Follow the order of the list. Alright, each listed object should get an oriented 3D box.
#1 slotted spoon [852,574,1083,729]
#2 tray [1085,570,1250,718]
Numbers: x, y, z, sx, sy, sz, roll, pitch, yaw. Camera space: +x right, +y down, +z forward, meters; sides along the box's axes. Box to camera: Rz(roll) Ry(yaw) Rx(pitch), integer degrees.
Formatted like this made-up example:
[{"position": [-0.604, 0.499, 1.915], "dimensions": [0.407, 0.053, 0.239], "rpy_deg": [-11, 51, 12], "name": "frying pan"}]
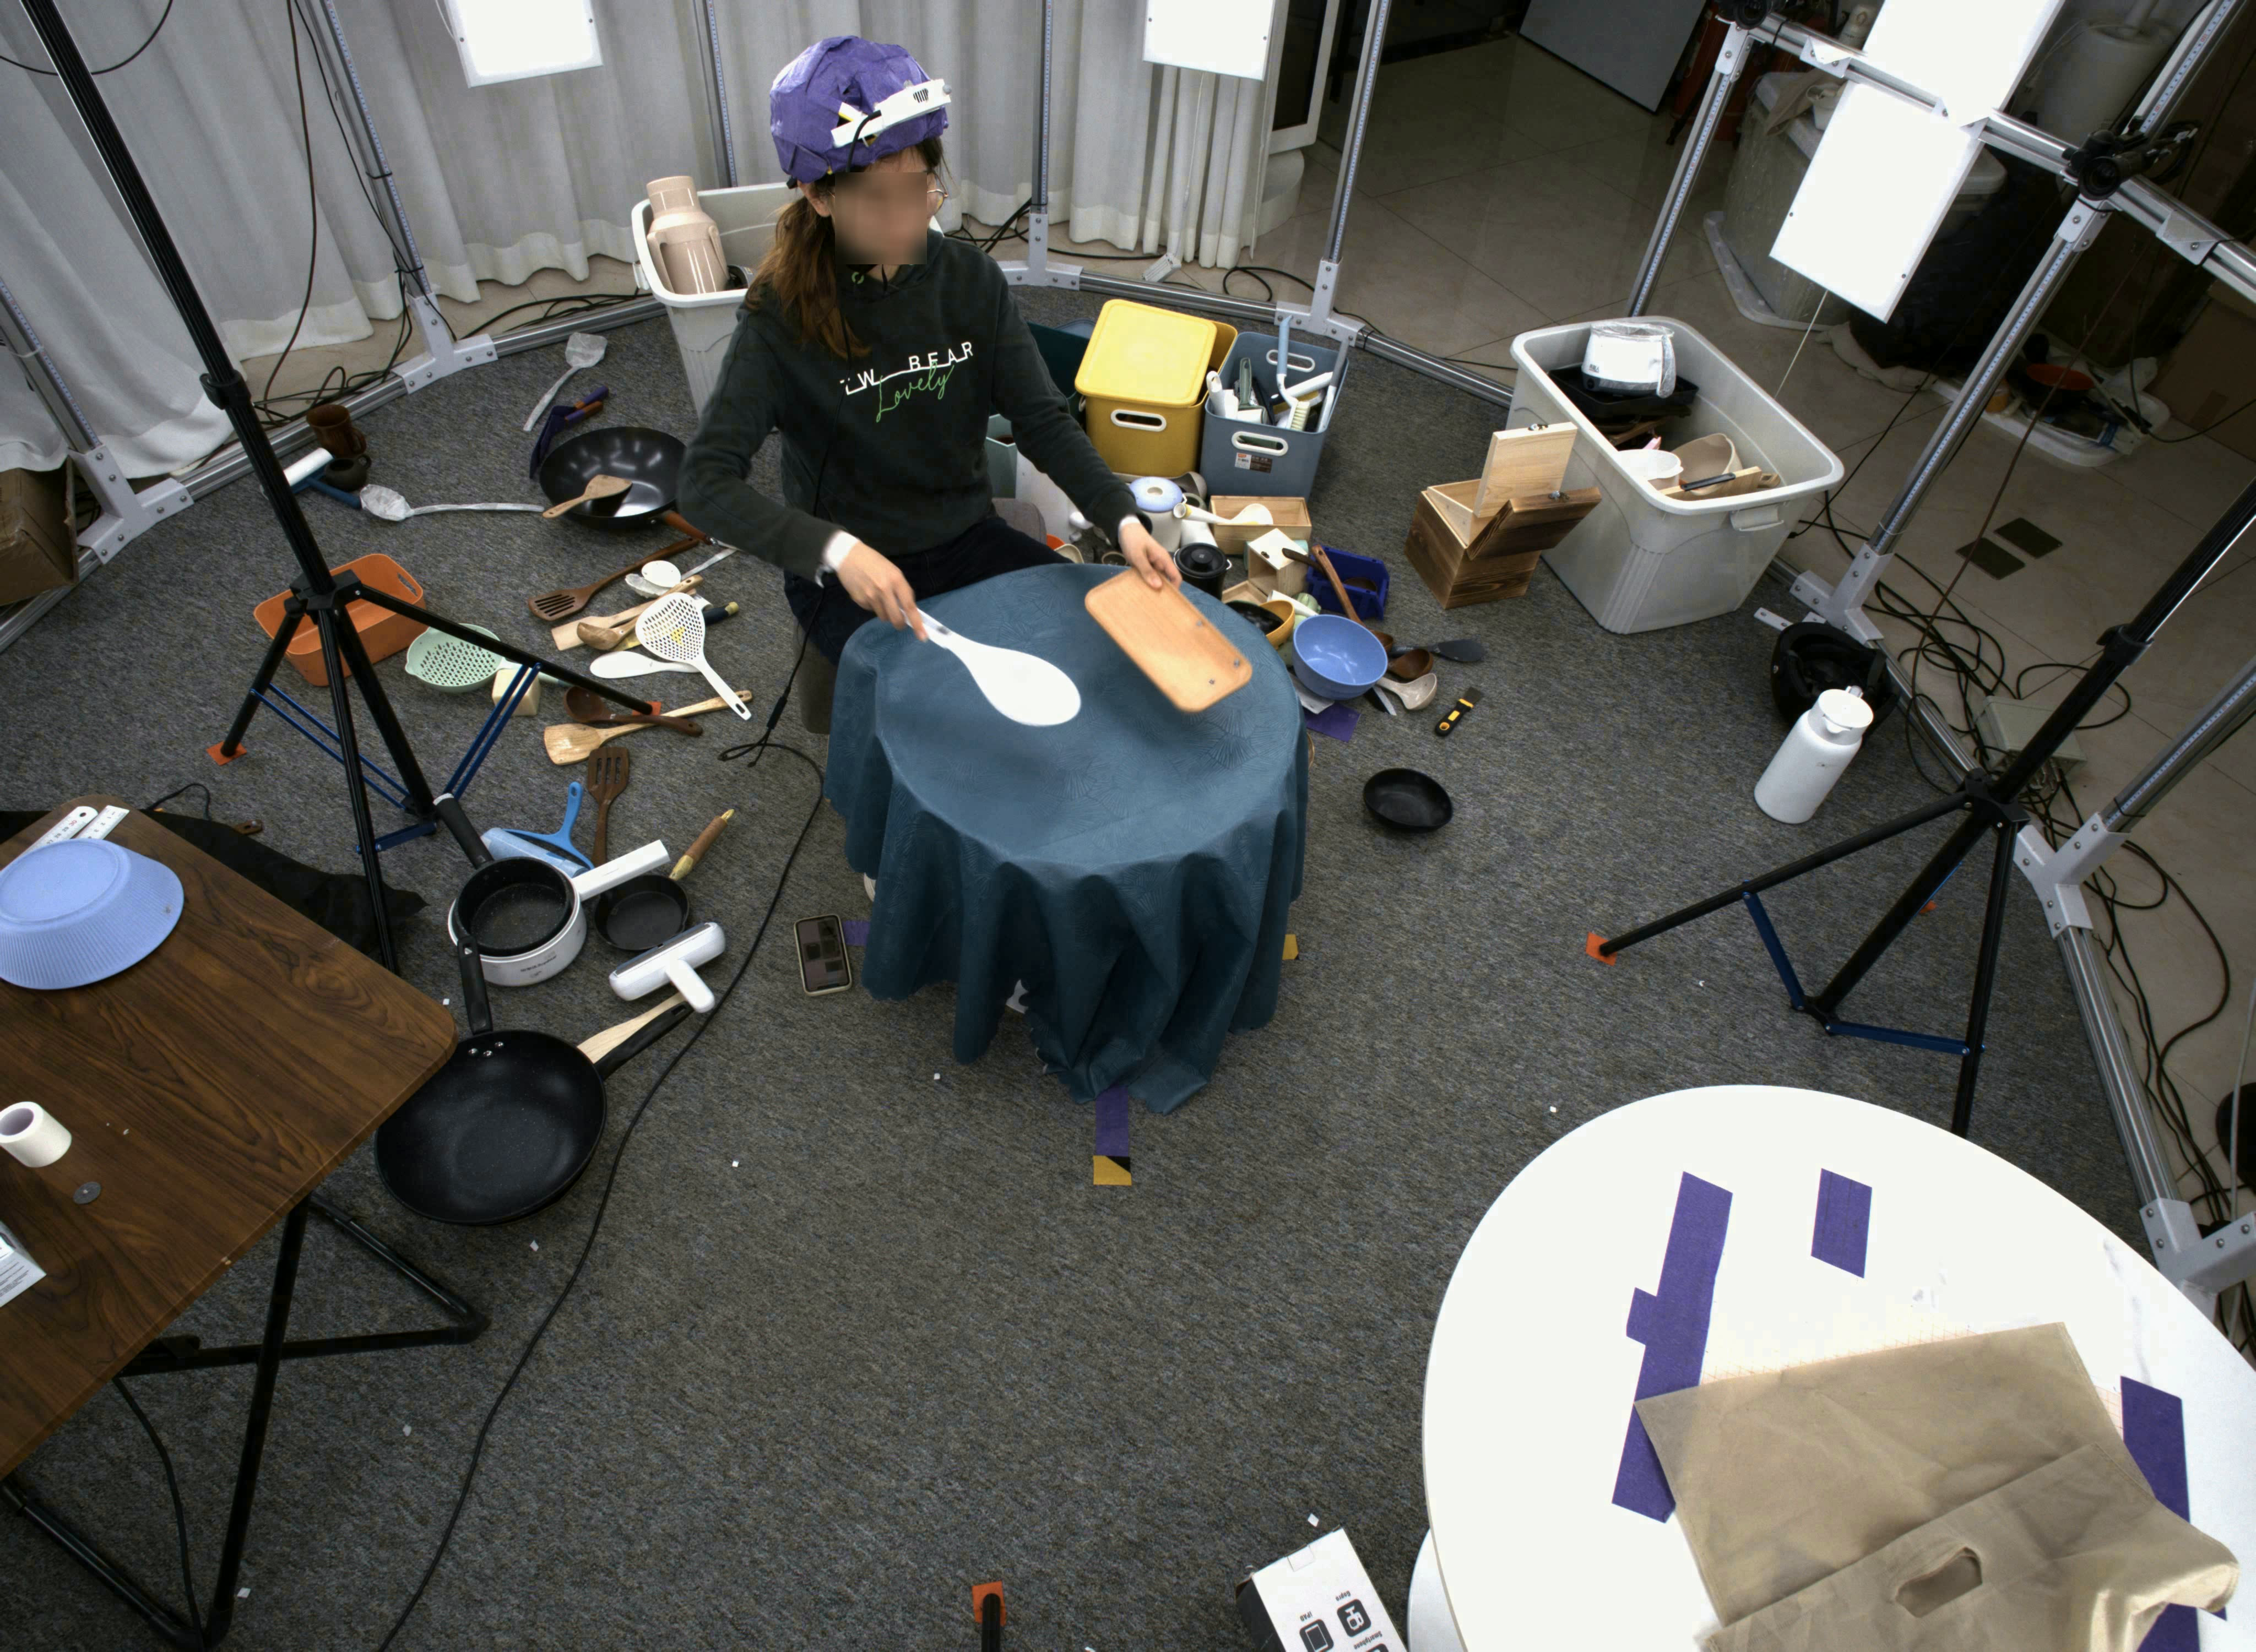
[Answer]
[{"position": [-0.213, -0.229, 1.675], "dimensions": [0.351, 0.045, 0.138], "rpy_deg": [37, 38, 6], "name": "slotted spoon"}, {"position": [0.053, -0.256, 1.790], "dimensions": [0.131, 0.022, 0.255], "rpy_deg": [-29, 63, -23], "name": "tray"}]
